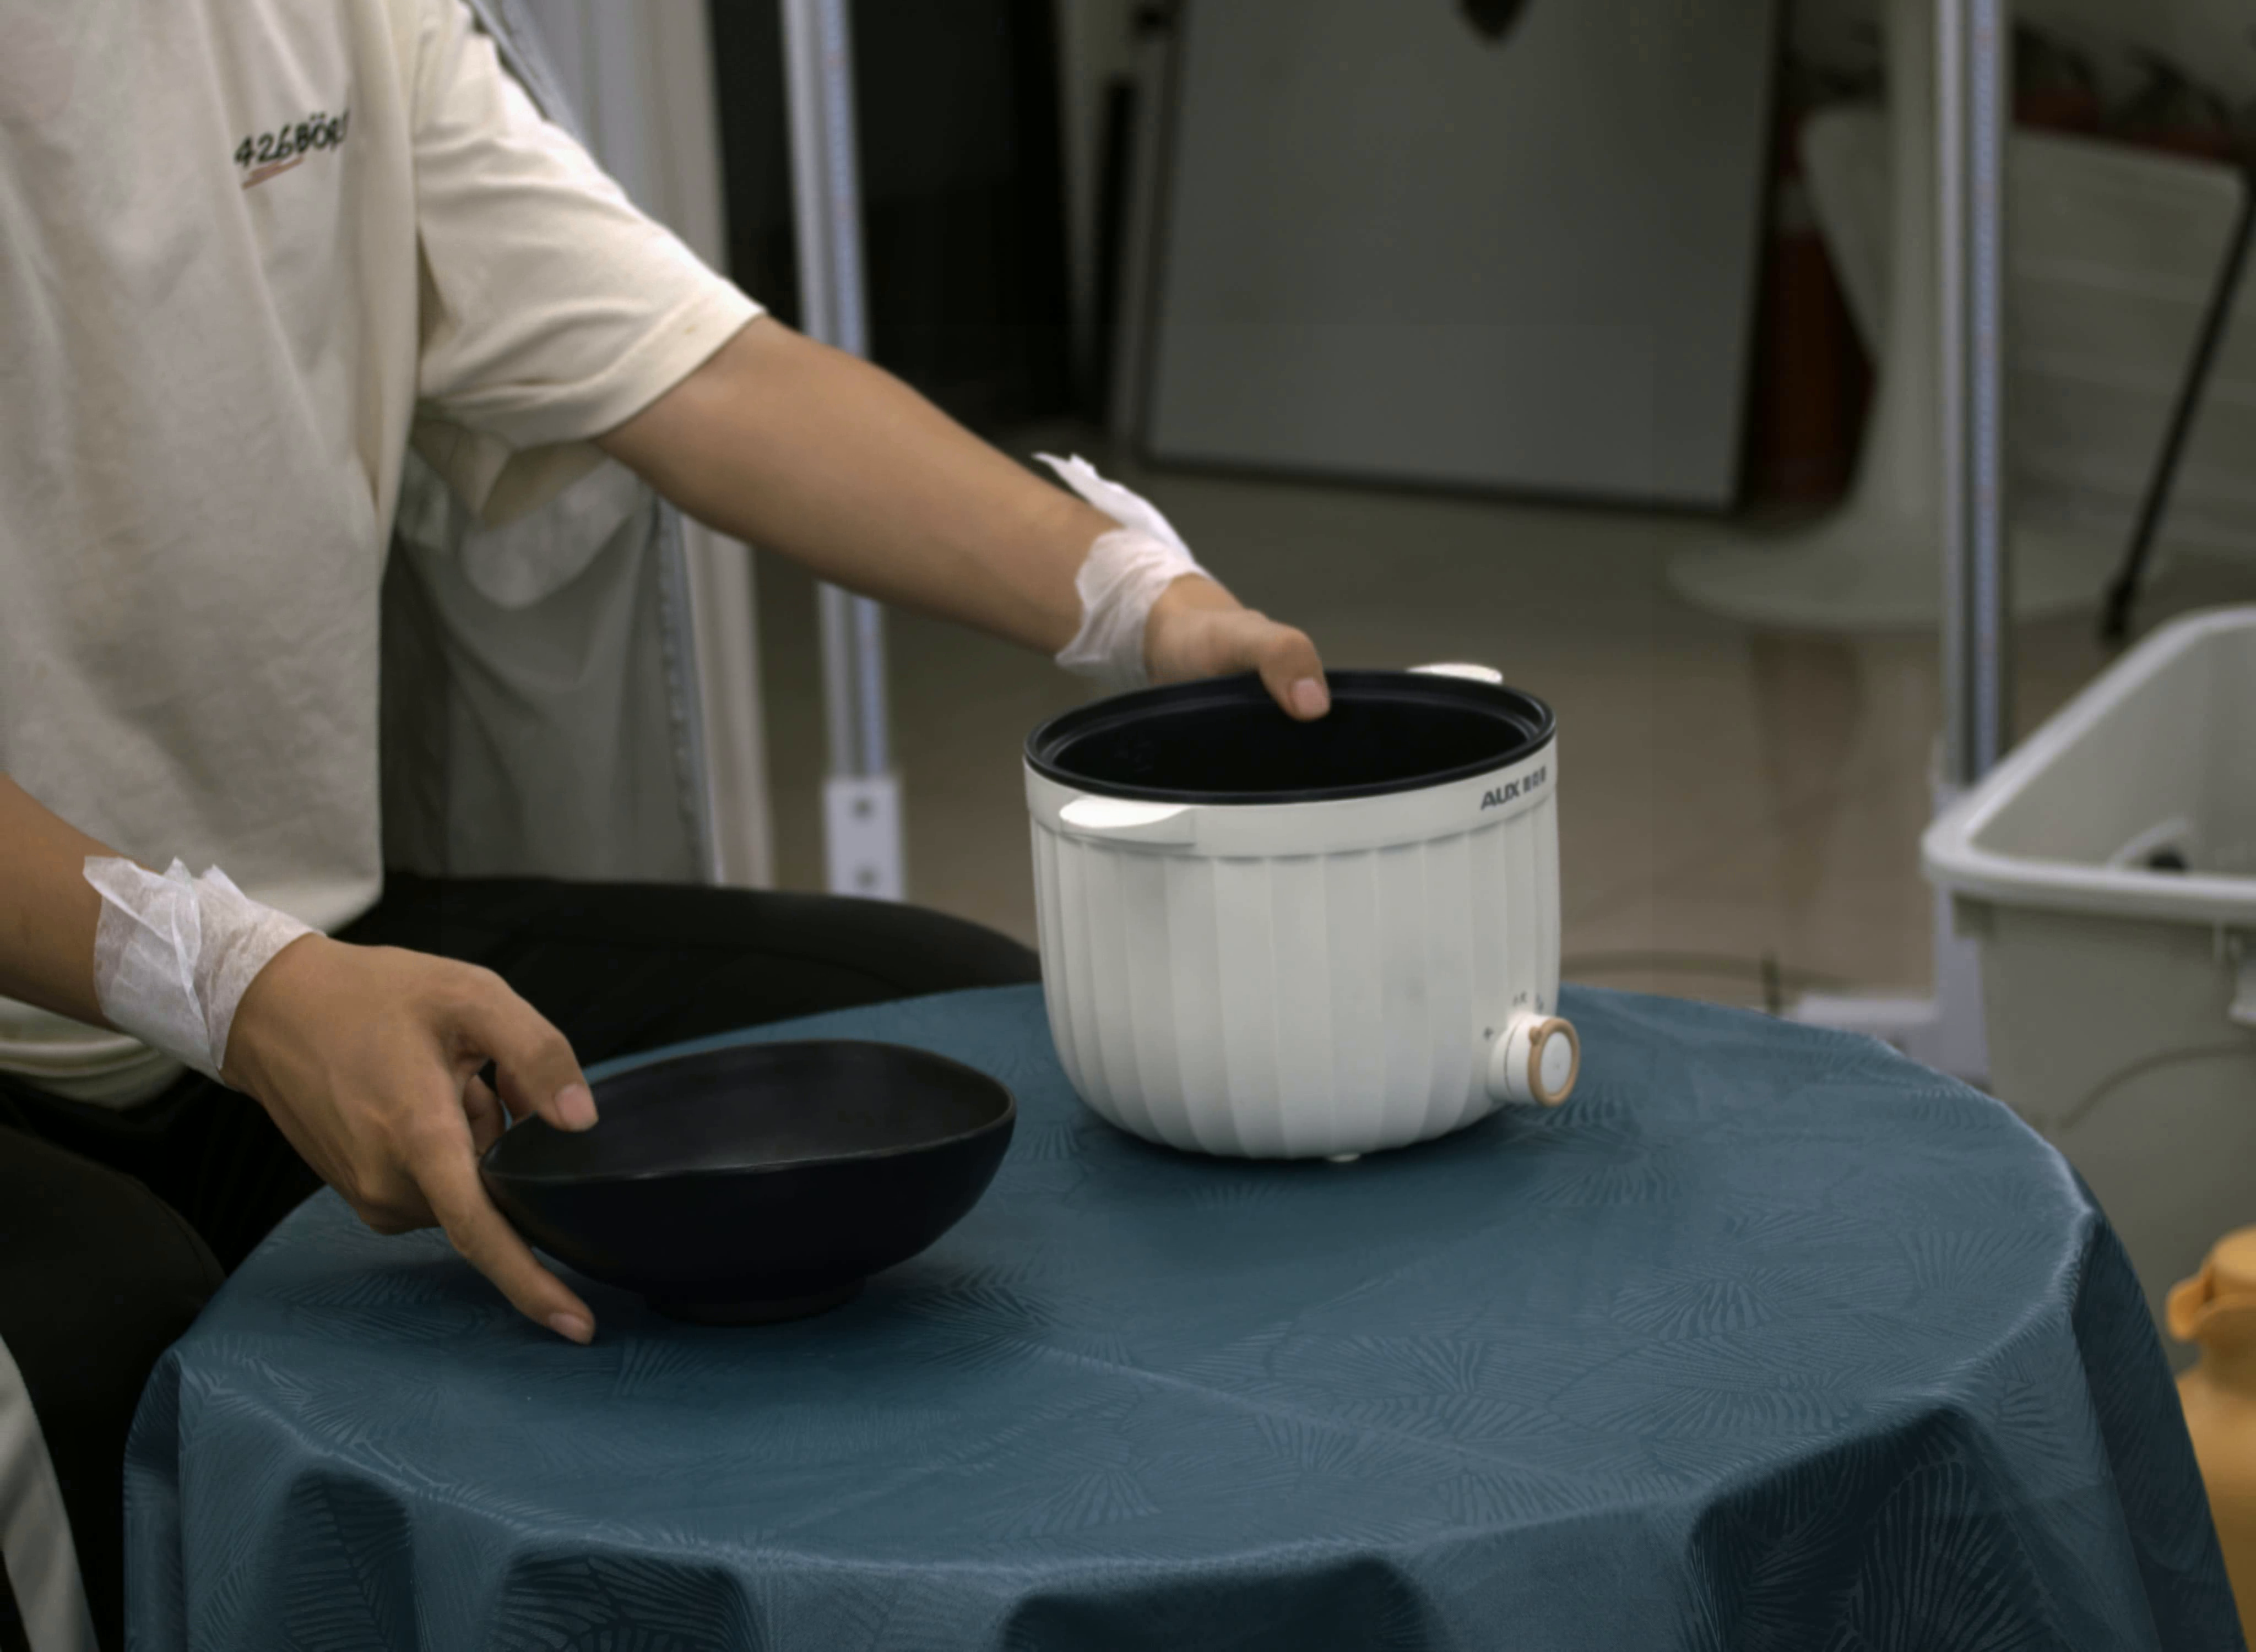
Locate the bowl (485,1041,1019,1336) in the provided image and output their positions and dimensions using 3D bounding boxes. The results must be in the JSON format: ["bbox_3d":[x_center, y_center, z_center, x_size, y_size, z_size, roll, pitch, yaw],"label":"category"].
[{"bbox_3d":[-0.116,0.118,1.688,0.168,0.067,0.137,-5,12,-1],"label":"bowl"}]

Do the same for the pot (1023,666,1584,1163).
[{"bbox_3d":[0.064,0.032,1.829,0.191,0.144,0.236,2,15,36],"label":"pot"}]
